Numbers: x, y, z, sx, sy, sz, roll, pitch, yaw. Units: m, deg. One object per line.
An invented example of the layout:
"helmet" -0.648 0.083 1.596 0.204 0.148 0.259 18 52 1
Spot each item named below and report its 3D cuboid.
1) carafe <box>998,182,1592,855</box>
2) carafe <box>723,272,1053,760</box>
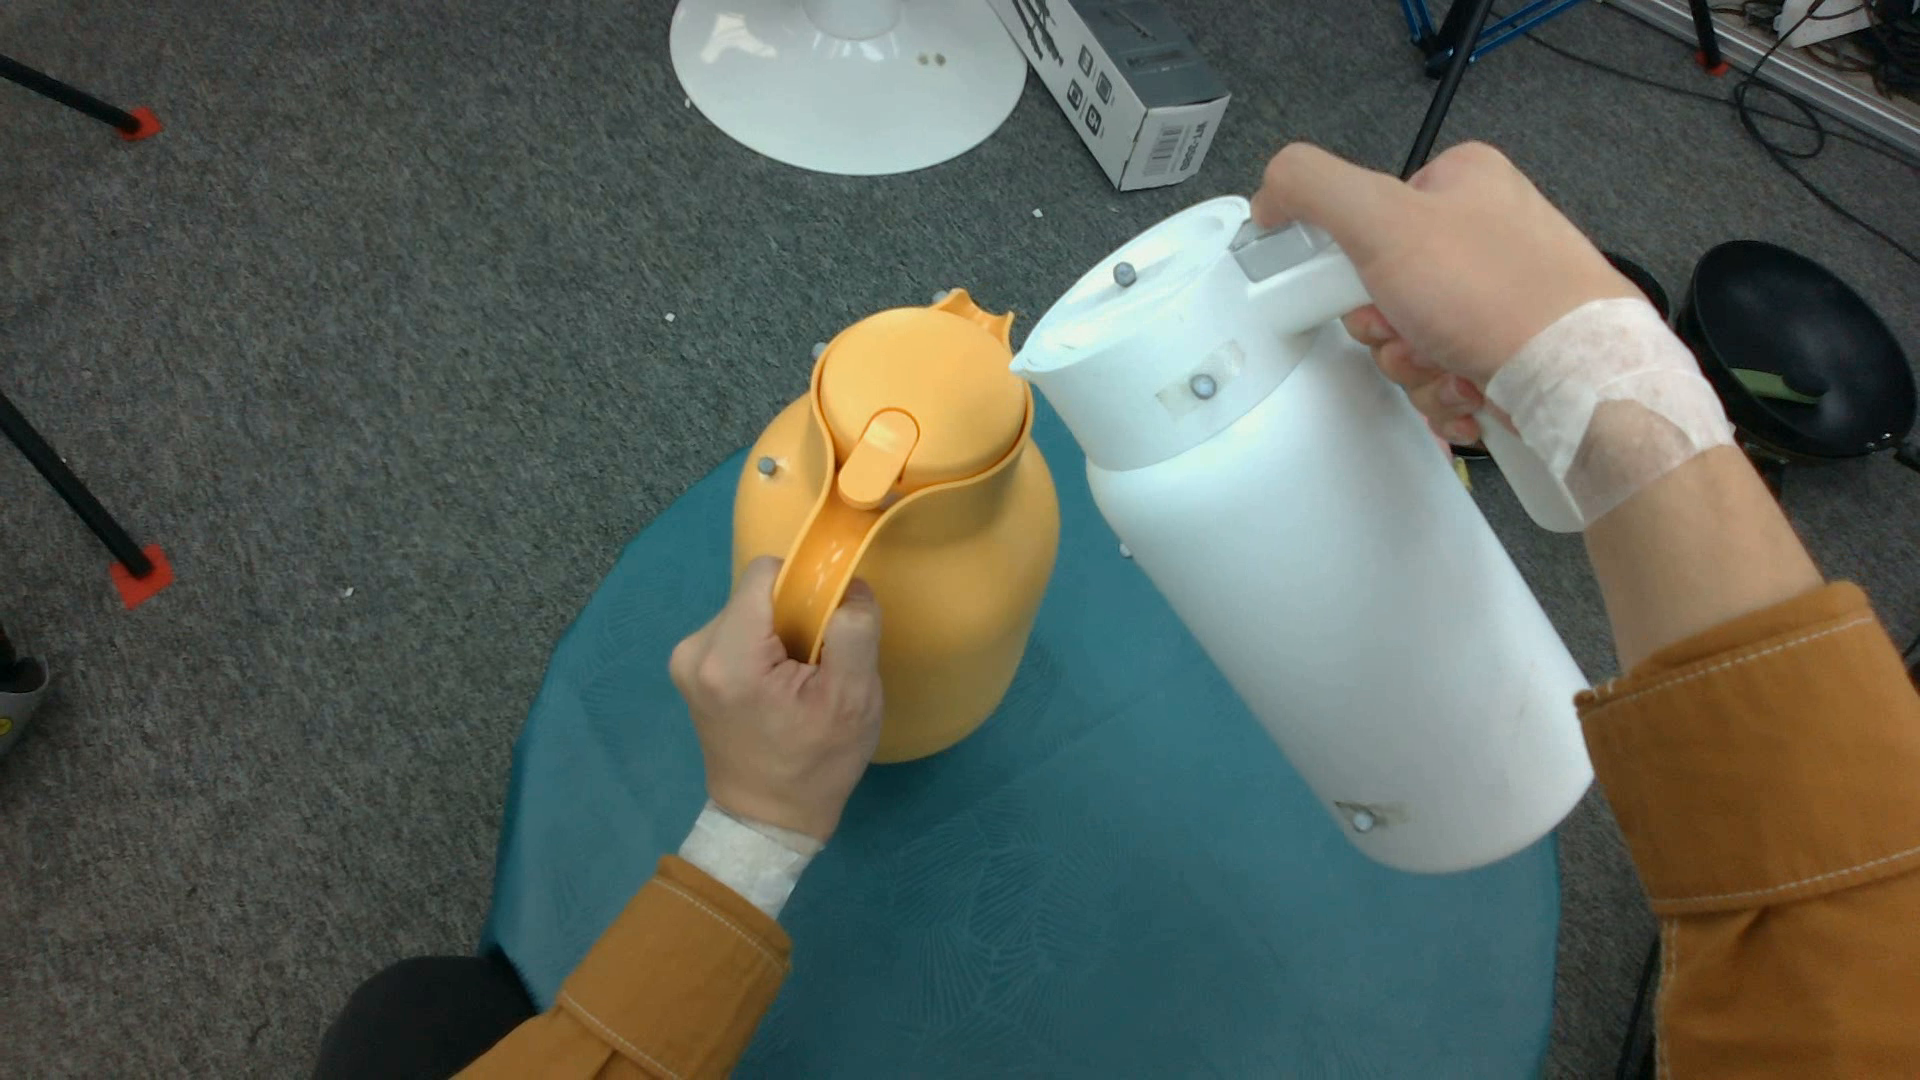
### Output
"carafe" 0.150 -0.007 0.529 0.268 0.172 0.124 53 48 -20
"carafe" -0.046 0.005 0.676 0.163 0.259 0.203 26 56 10
